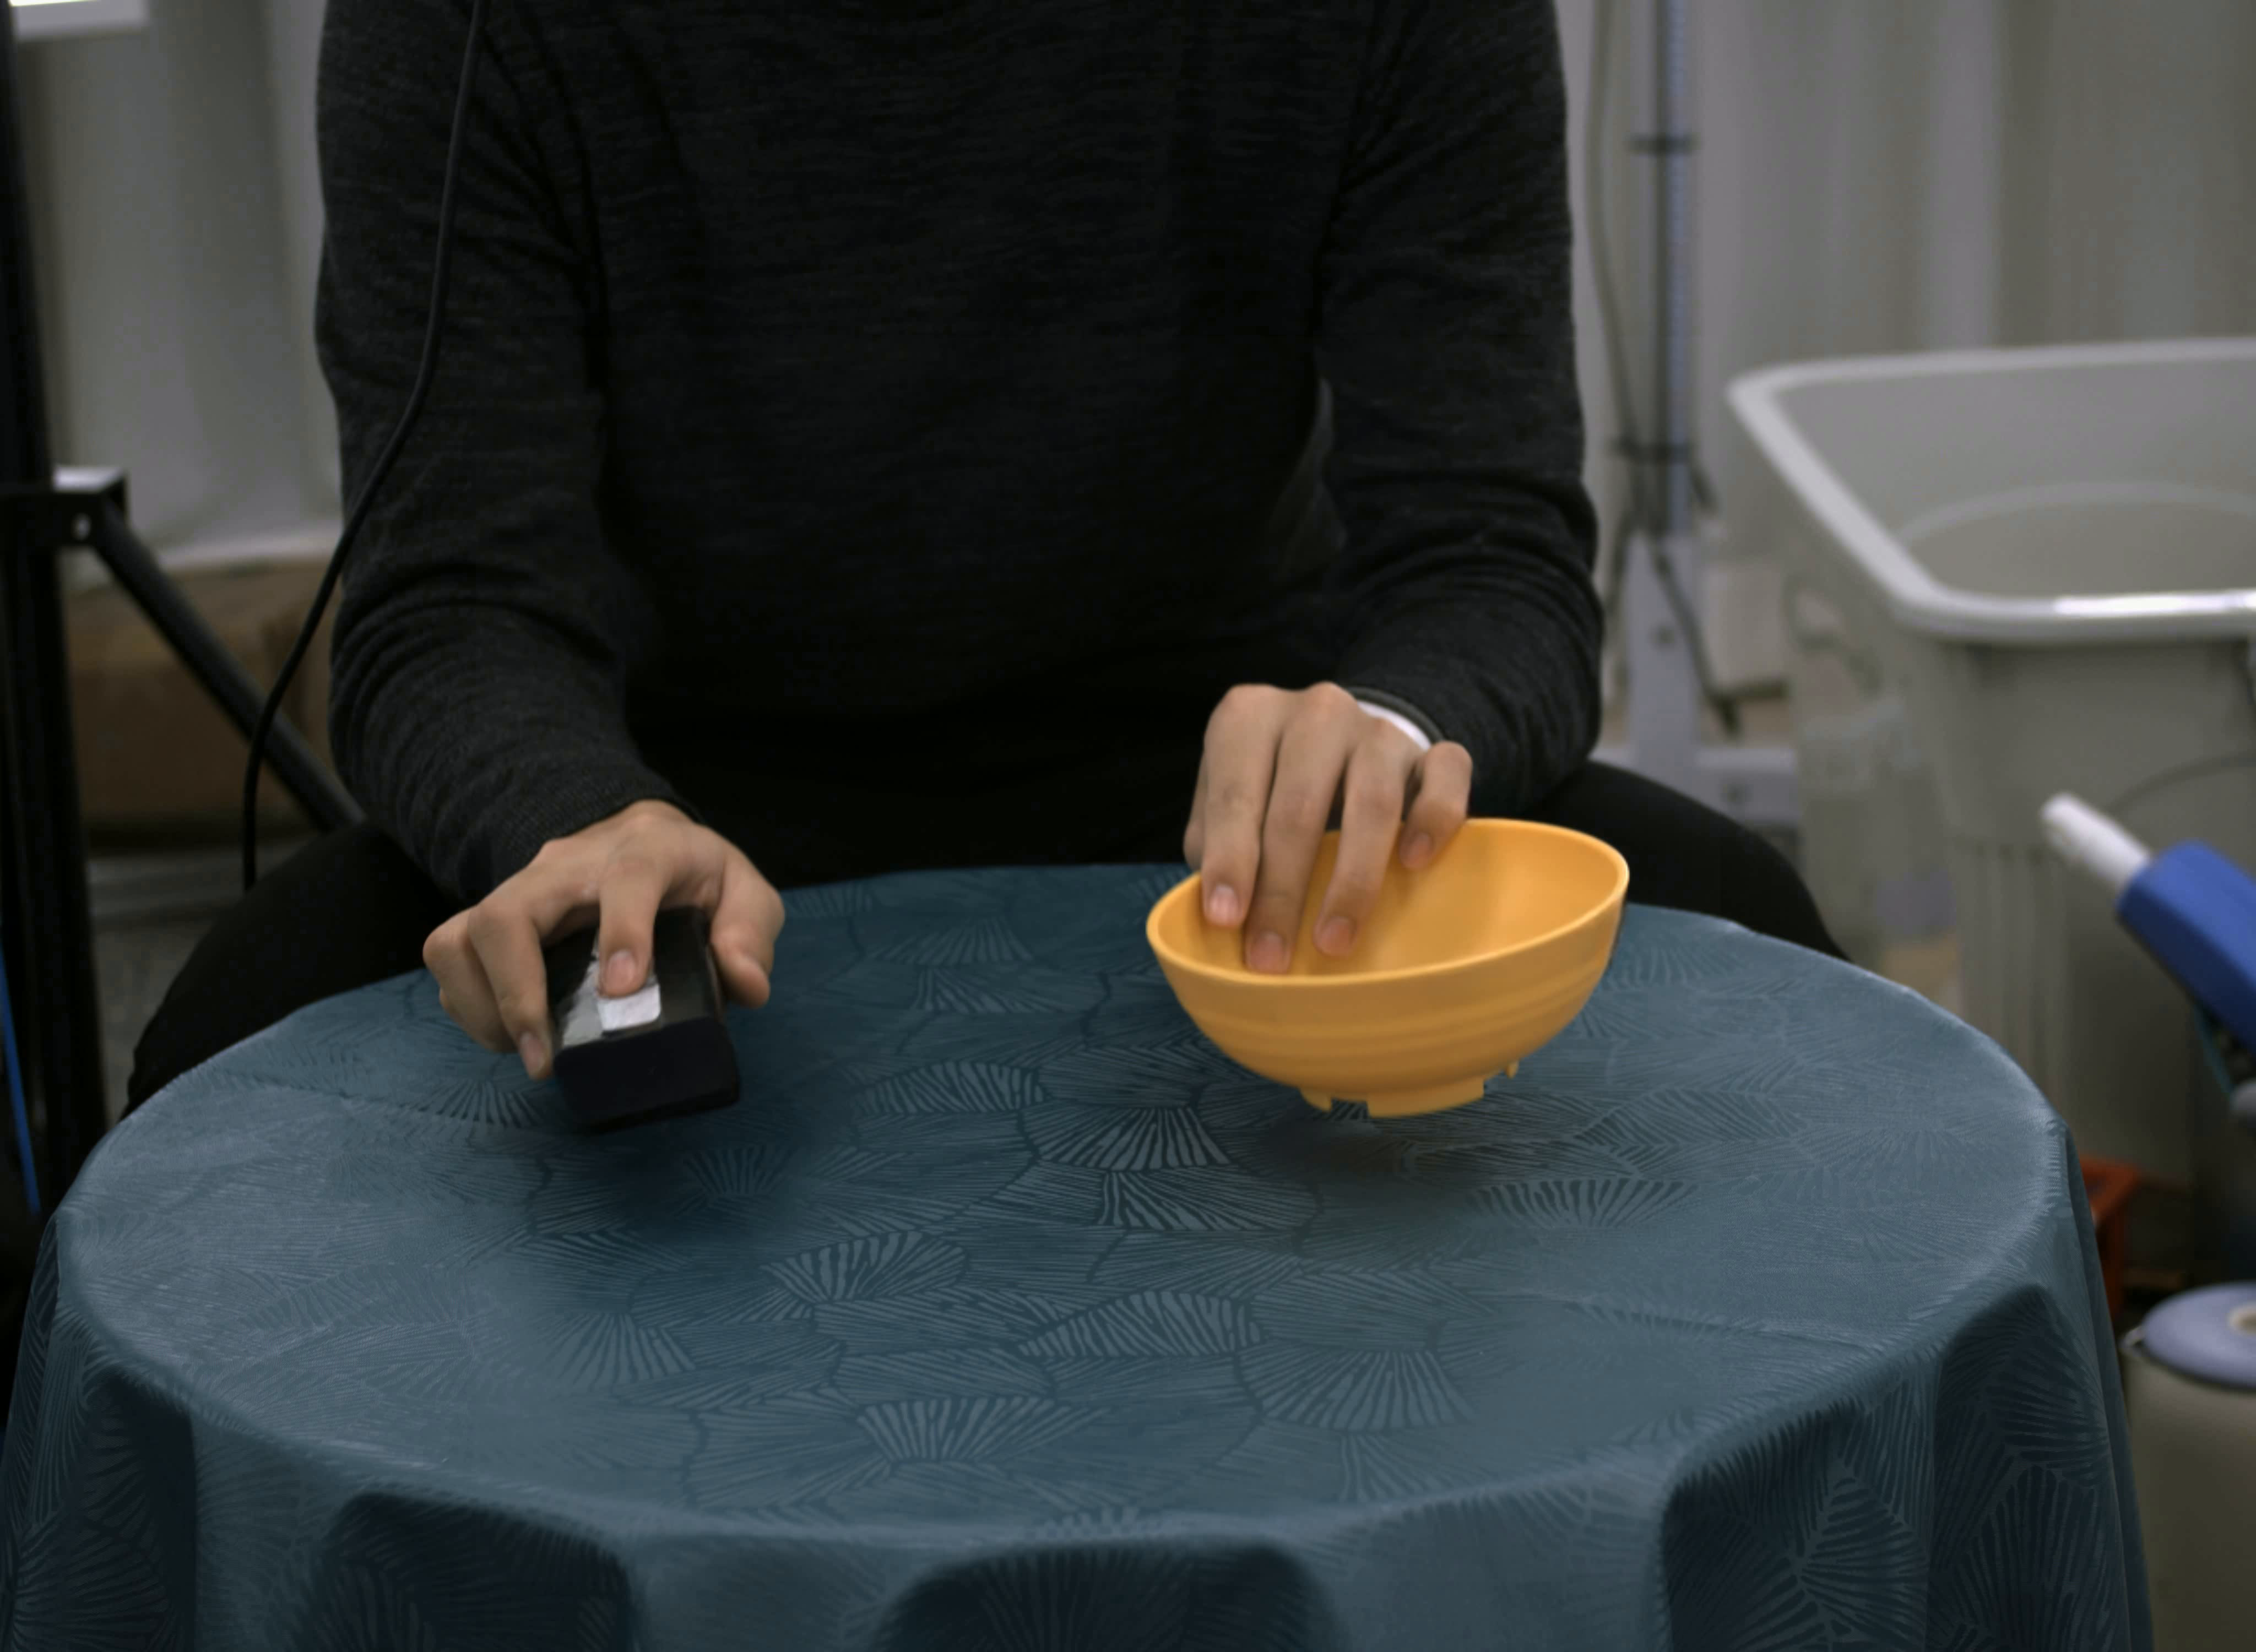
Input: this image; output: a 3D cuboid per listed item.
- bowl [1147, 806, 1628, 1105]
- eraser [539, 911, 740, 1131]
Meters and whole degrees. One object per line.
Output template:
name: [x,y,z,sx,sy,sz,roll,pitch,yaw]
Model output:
bowl: [0.079,0.044,1.584,0.145,0.060,0.146,-7,18,1]
eraser: [-0.145,0.057,1.587,0.053,0.030,0.127,-11,15,-5]
